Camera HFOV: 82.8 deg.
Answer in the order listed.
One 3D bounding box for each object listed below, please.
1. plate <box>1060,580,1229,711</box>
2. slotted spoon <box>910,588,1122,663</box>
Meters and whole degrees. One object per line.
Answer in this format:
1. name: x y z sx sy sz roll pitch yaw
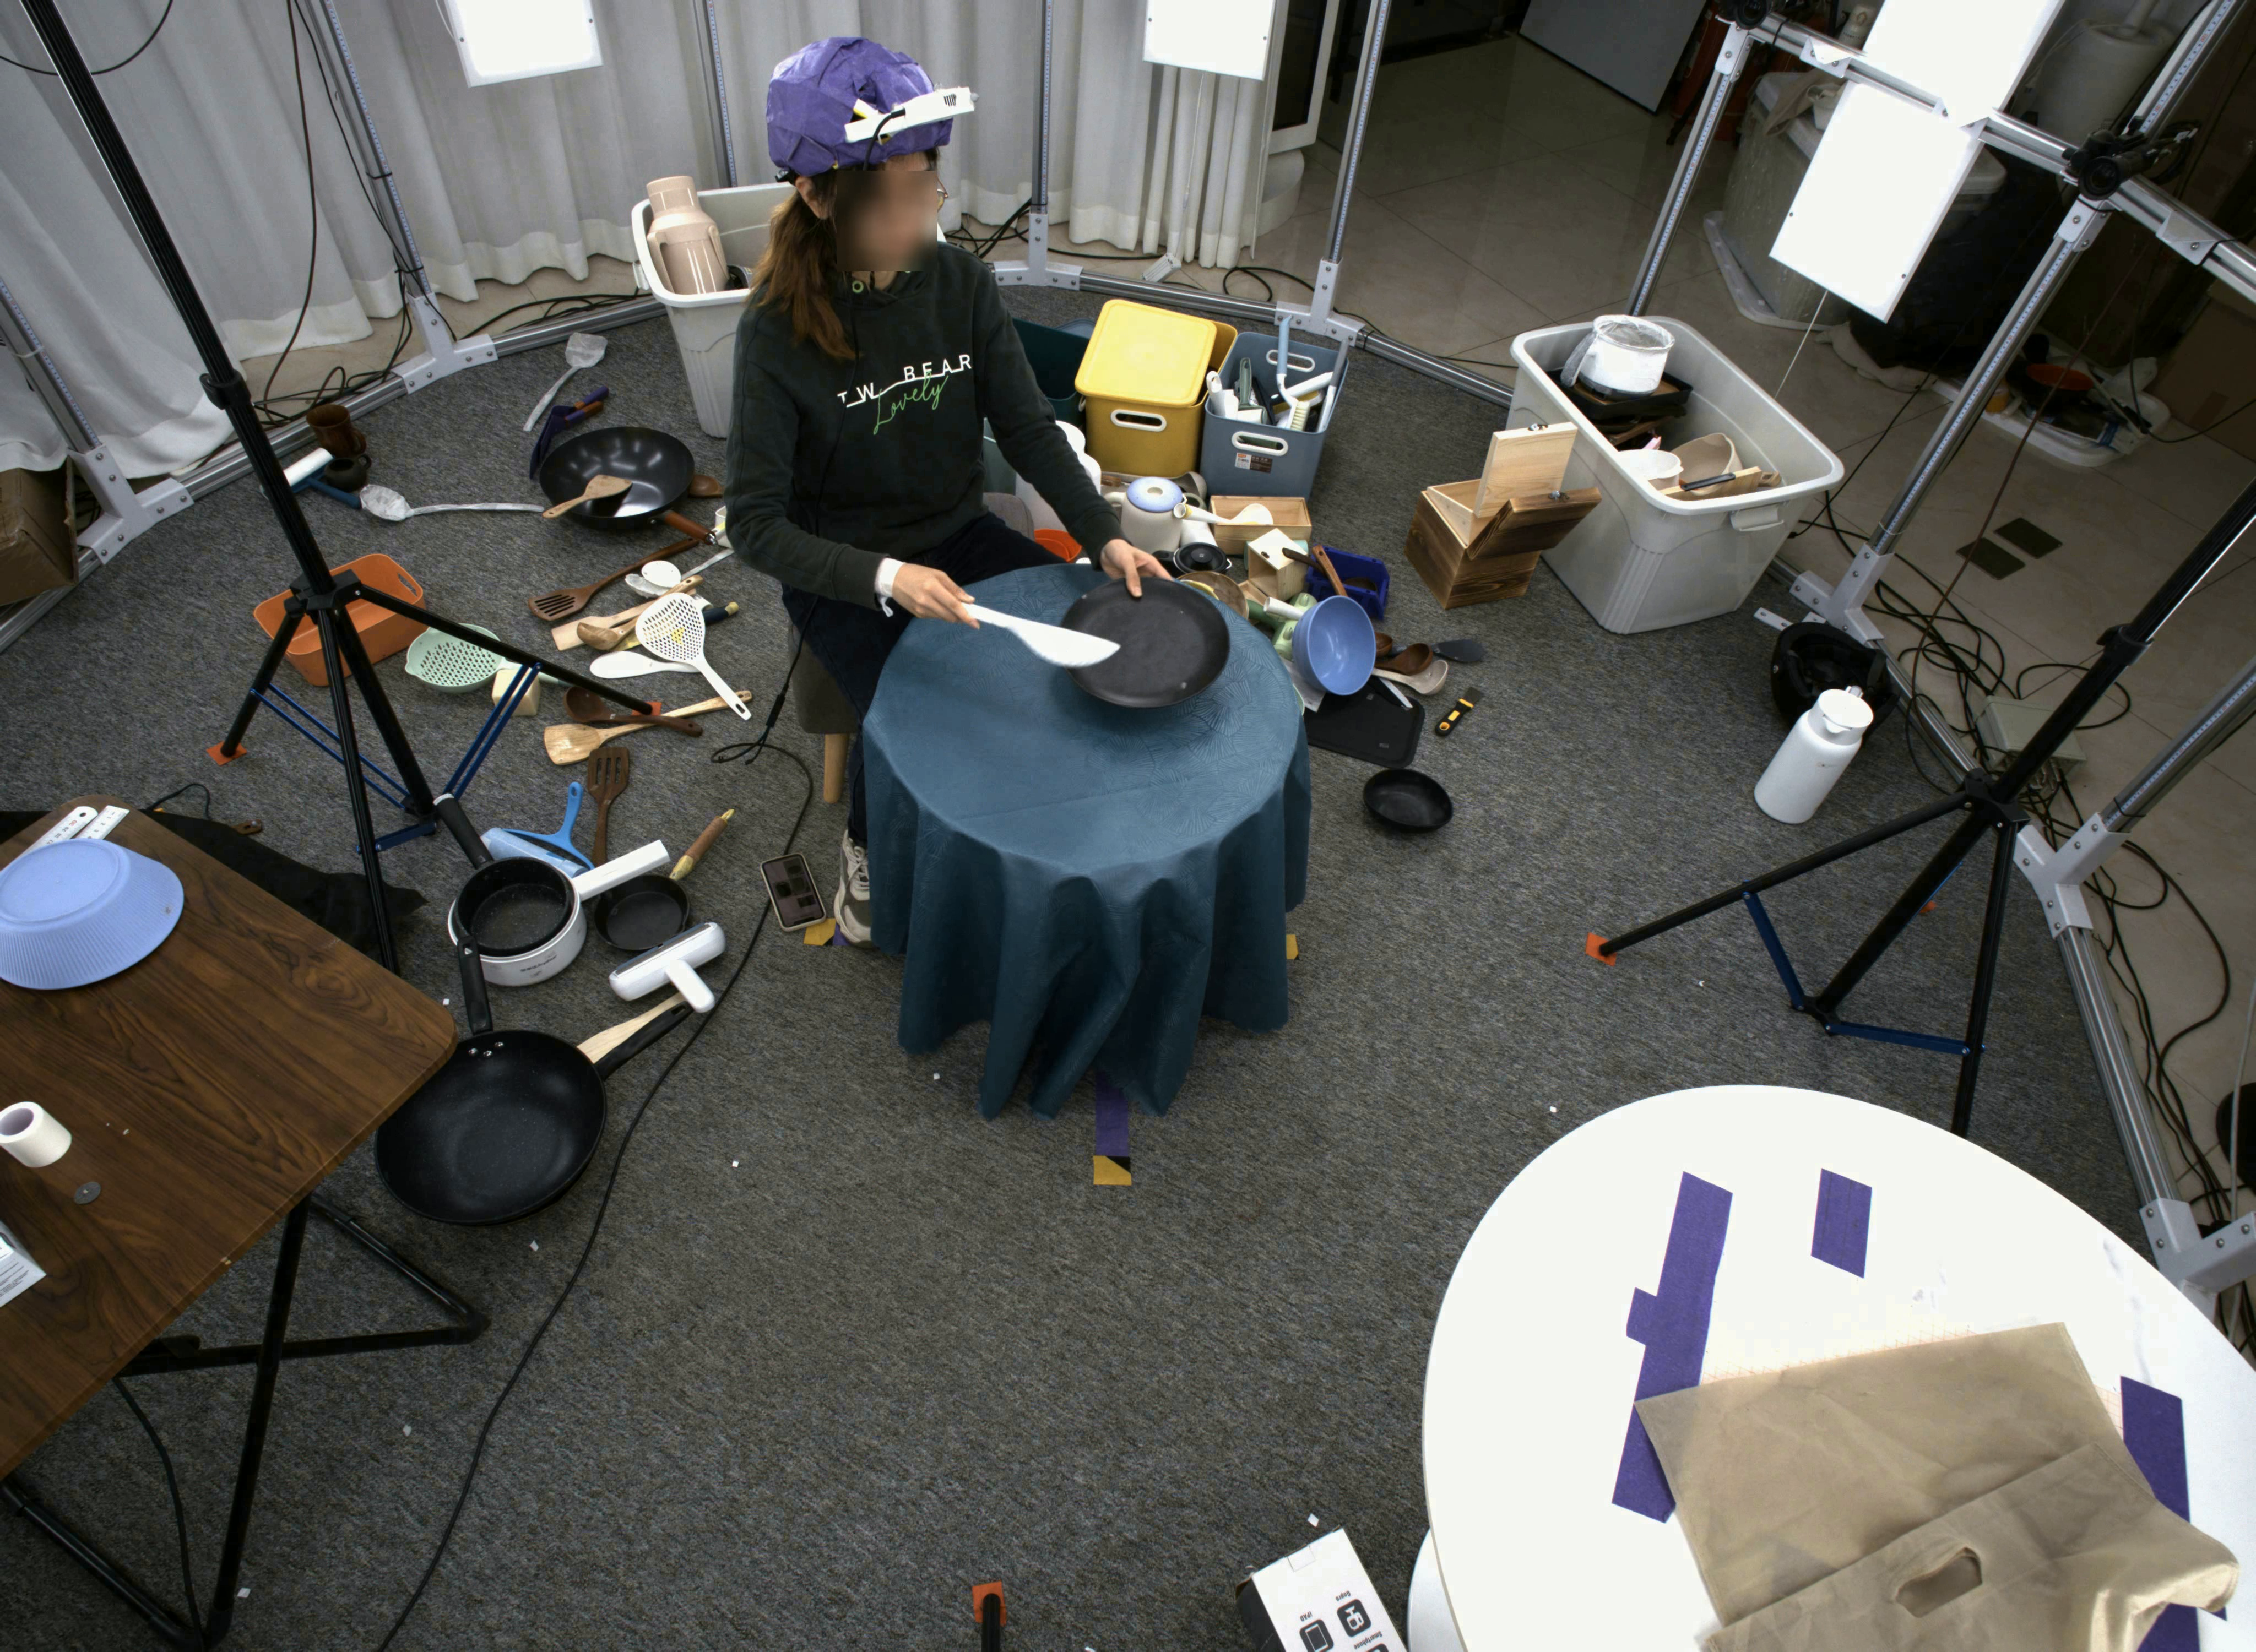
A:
1. plate: 0.022 -0.256 1.829 0.244 0.023 0.250 0 55 0
2. slotted spoon: -0.160 -0.274 1.707 0.354 0.045 0.135 26 12 33
